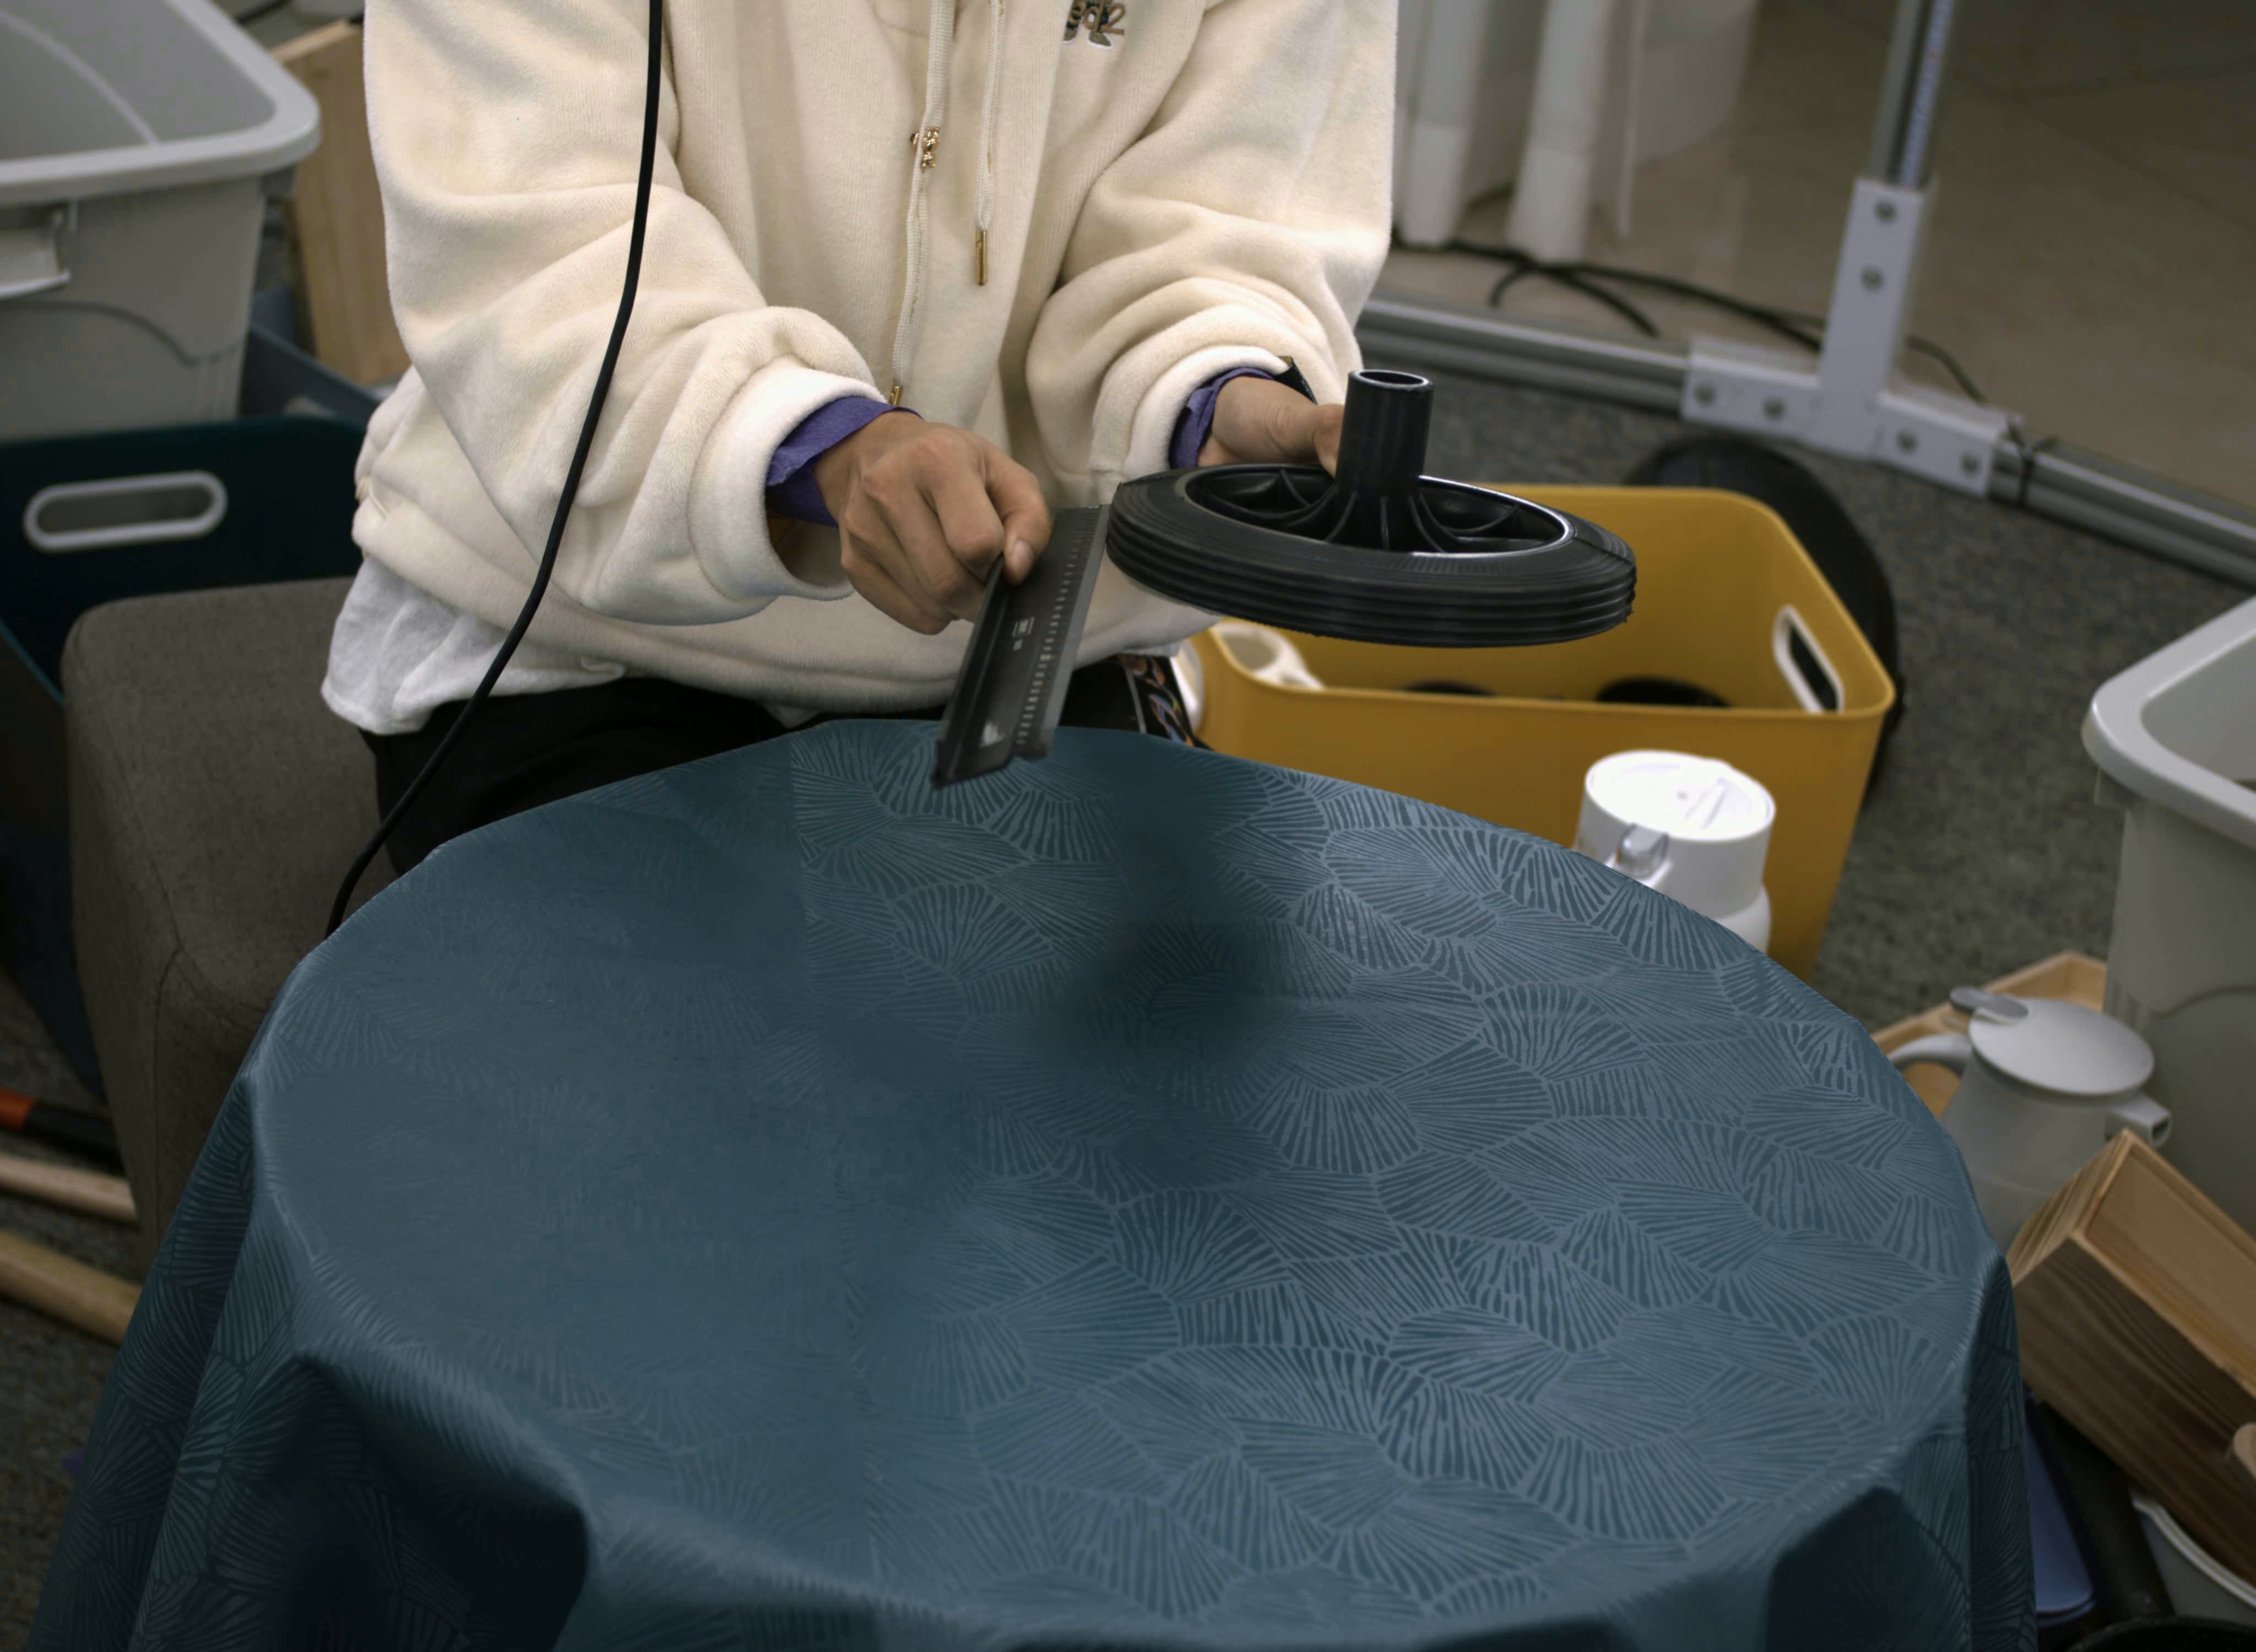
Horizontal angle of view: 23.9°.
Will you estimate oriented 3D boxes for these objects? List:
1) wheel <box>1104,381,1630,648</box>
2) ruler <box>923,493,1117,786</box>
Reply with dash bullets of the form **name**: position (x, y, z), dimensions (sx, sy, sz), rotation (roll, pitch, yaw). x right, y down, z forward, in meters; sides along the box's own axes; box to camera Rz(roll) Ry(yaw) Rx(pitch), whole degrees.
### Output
- **wheel**: position (0.088, -0.115, 1.877), dimensions (0.188, 0.079, 0.189), rotation (-5, 19, -39)
- **ruler**: position (-0.034, -0.070, 1.772), dimensions (0.039, 0.017, 0.313), rotation (-14, 16, 9)
